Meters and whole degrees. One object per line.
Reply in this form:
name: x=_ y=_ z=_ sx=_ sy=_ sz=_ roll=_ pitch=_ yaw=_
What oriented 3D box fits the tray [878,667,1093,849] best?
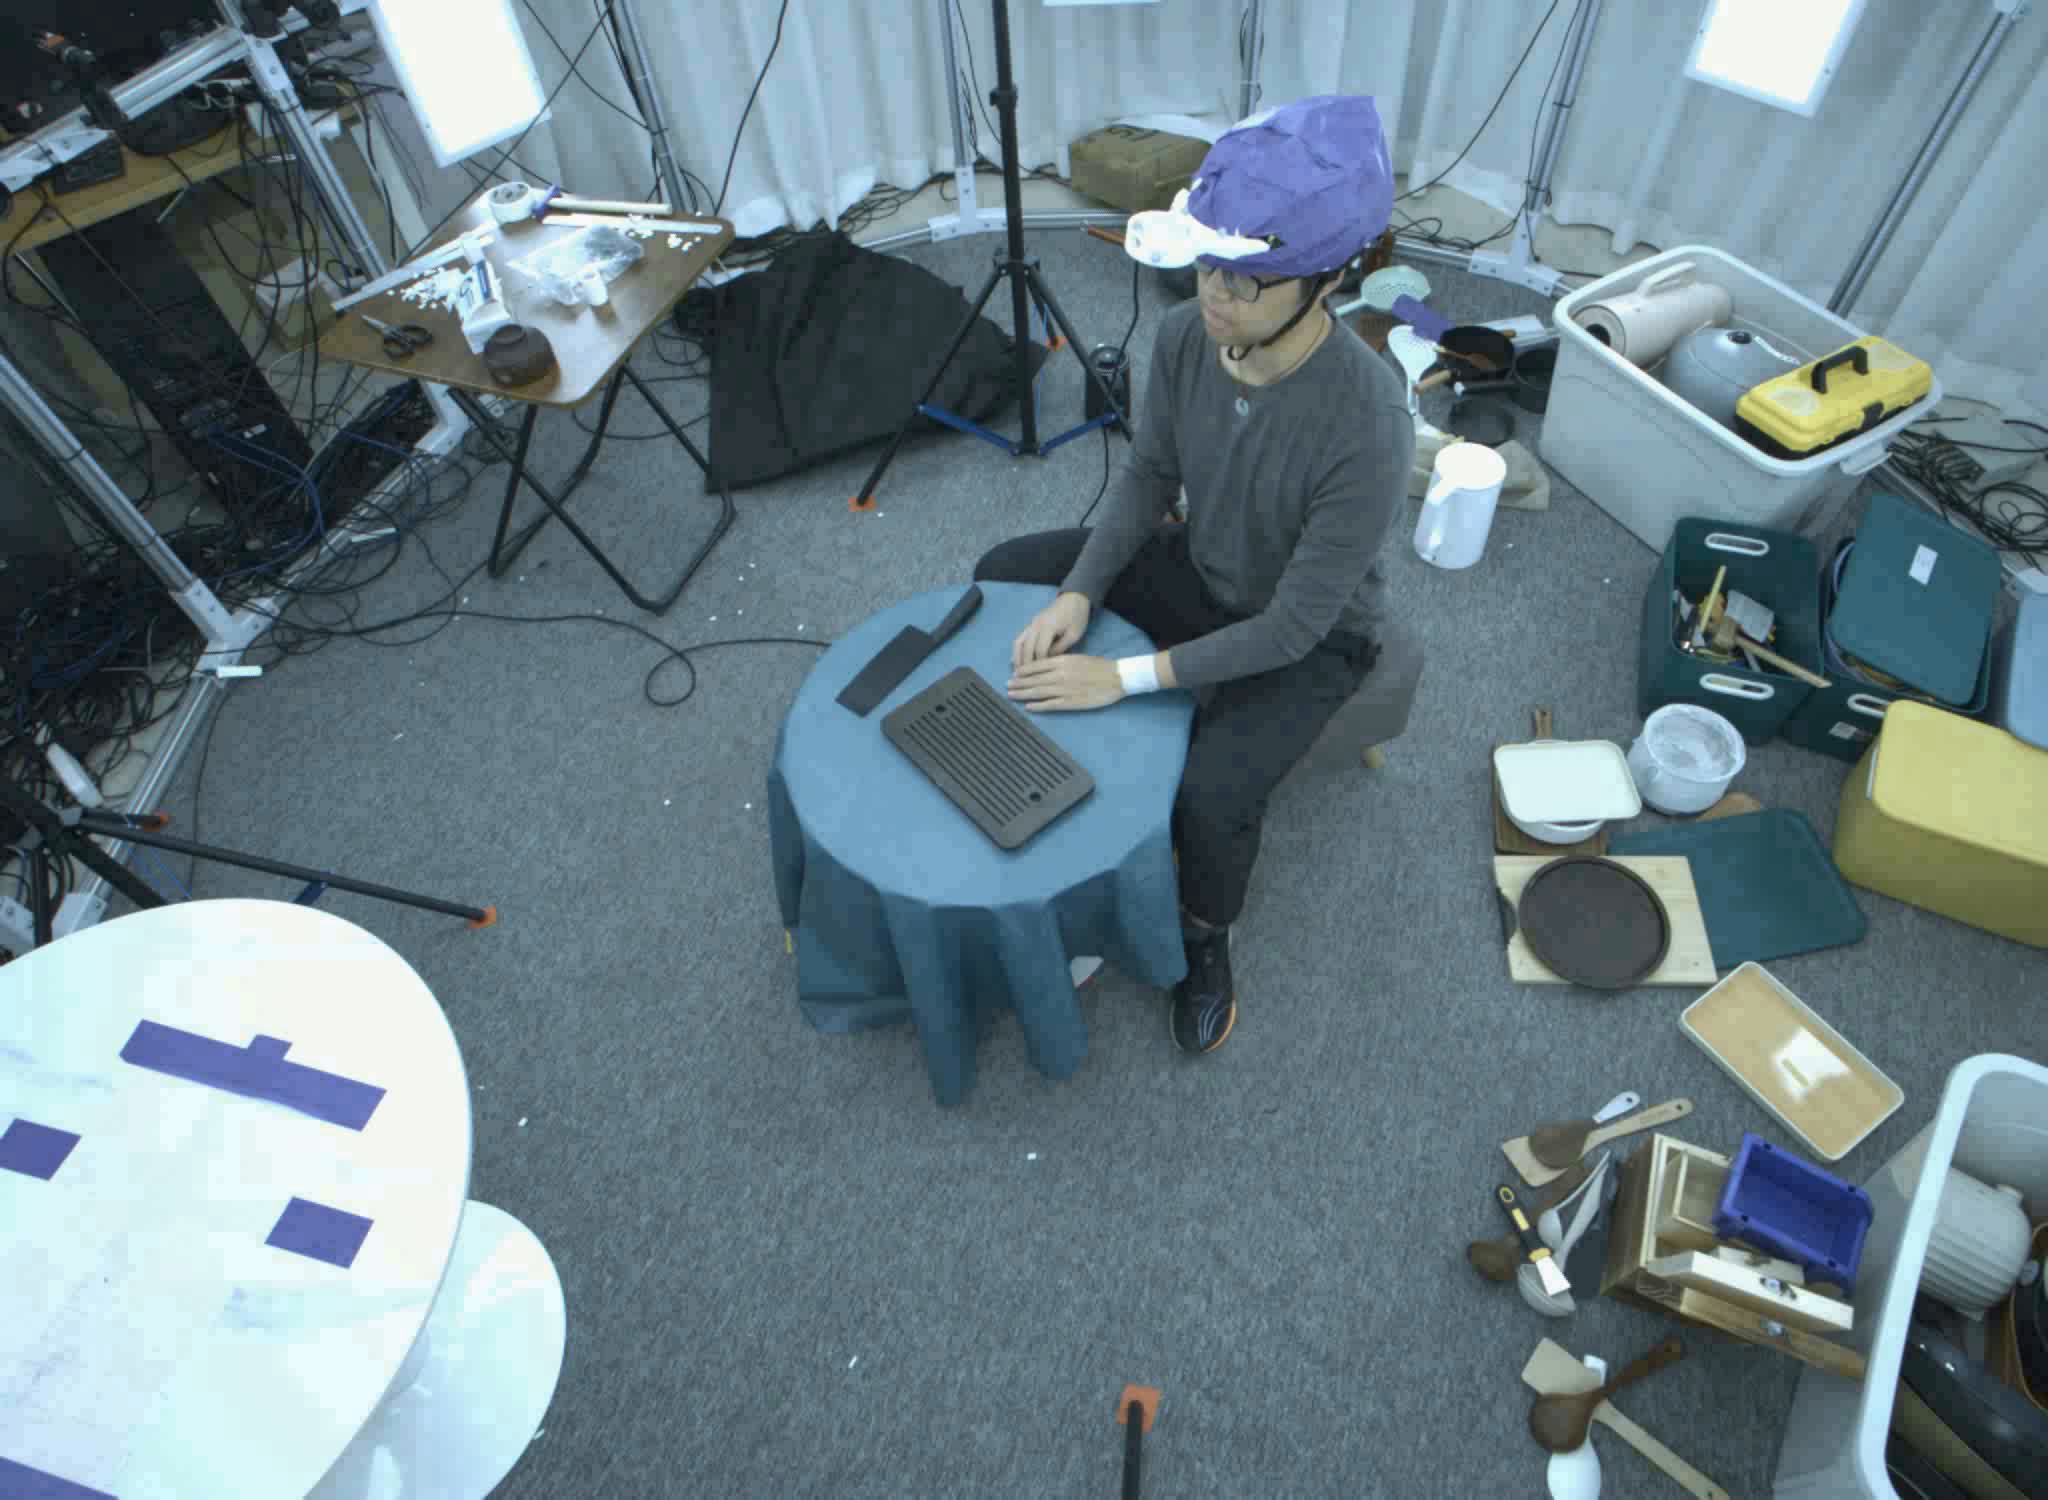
tray: x=-0.058 y=0.007 z=1.780 sx=0.171 sy=0.019 sz=0.300 roll=-35 pitch=61 yaw=-23

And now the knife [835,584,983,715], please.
knife: x=-0.173 y=-0.163 z=1.908 sx=0.079 sy=0.021 sz=0.304 roll=35 pitch=64 yaw=25
